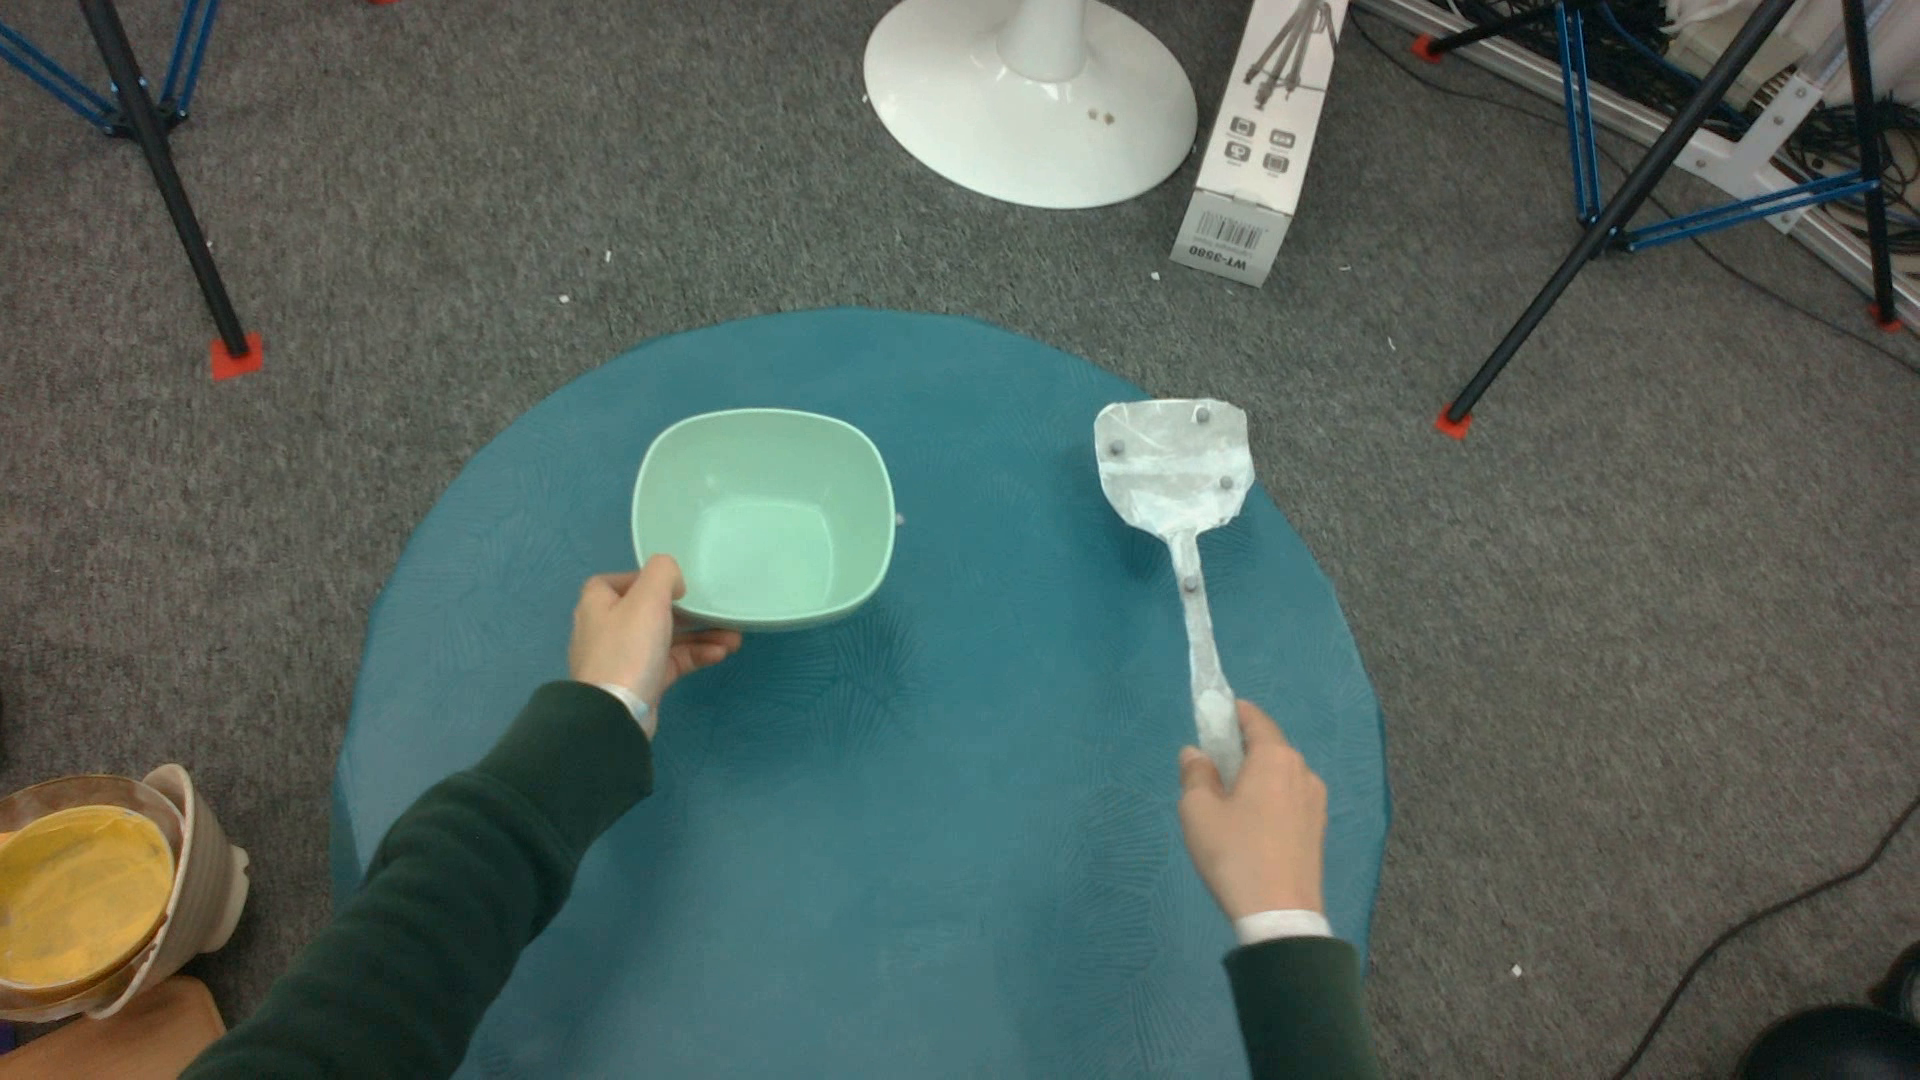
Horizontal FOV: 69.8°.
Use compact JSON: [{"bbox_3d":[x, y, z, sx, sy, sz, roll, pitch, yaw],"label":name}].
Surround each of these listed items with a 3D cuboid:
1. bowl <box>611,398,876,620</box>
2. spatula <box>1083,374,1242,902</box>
[{"bbox_3d":[-0.118,-0.007,0.751,0.151,0.058,0.152,6,53,-8],"label":"bowl"},{"bbox_3d":[0.124,0.030,0.755,0.098,0.044,0.366,0,41,1],"label":"spatula"}]
